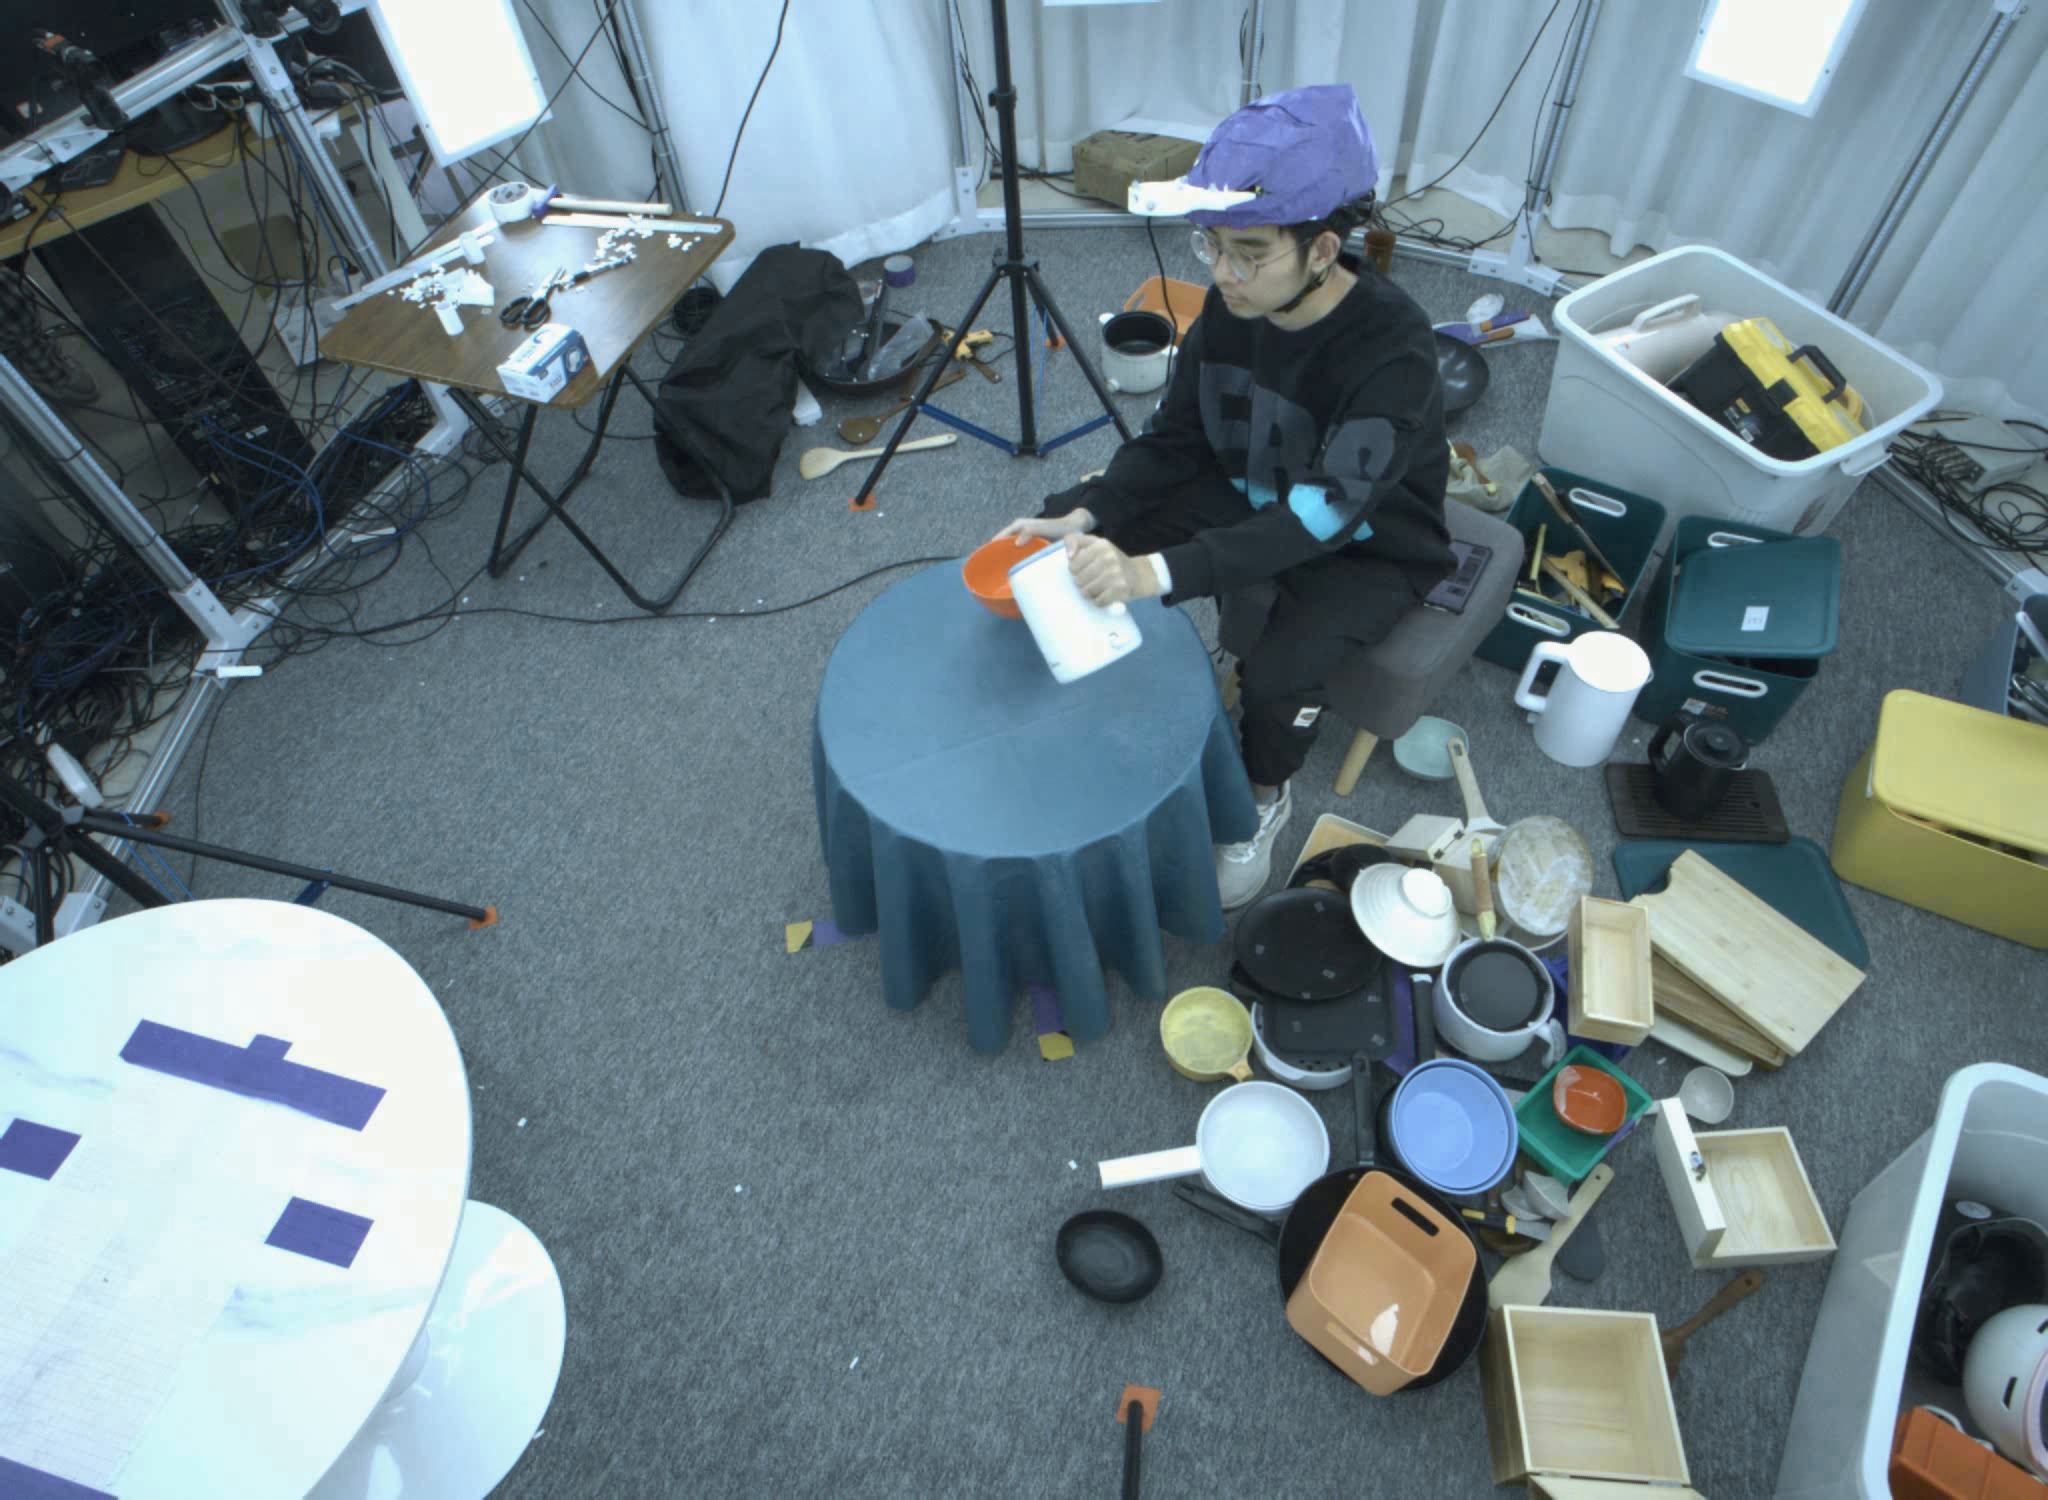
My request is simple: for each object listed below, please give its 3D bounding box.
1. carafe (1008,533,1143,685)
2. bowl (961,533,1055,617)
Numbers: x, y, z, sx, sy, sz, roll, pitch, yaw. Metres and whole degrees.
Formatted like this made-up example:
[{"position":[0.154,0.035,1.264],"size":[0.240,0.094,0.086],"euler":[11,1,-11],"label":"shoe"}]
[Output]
[{"position":[0.079,-0.192,1.643],"size":[0.133,0.188,0.184],"euler":[-32,101,-24],"label":"carafe"},{"position":[-0.018,-0.250,1.842],"size":[0.148,0.106,0.146],"euler":[-2,57,4],"label":"bowl"}]
